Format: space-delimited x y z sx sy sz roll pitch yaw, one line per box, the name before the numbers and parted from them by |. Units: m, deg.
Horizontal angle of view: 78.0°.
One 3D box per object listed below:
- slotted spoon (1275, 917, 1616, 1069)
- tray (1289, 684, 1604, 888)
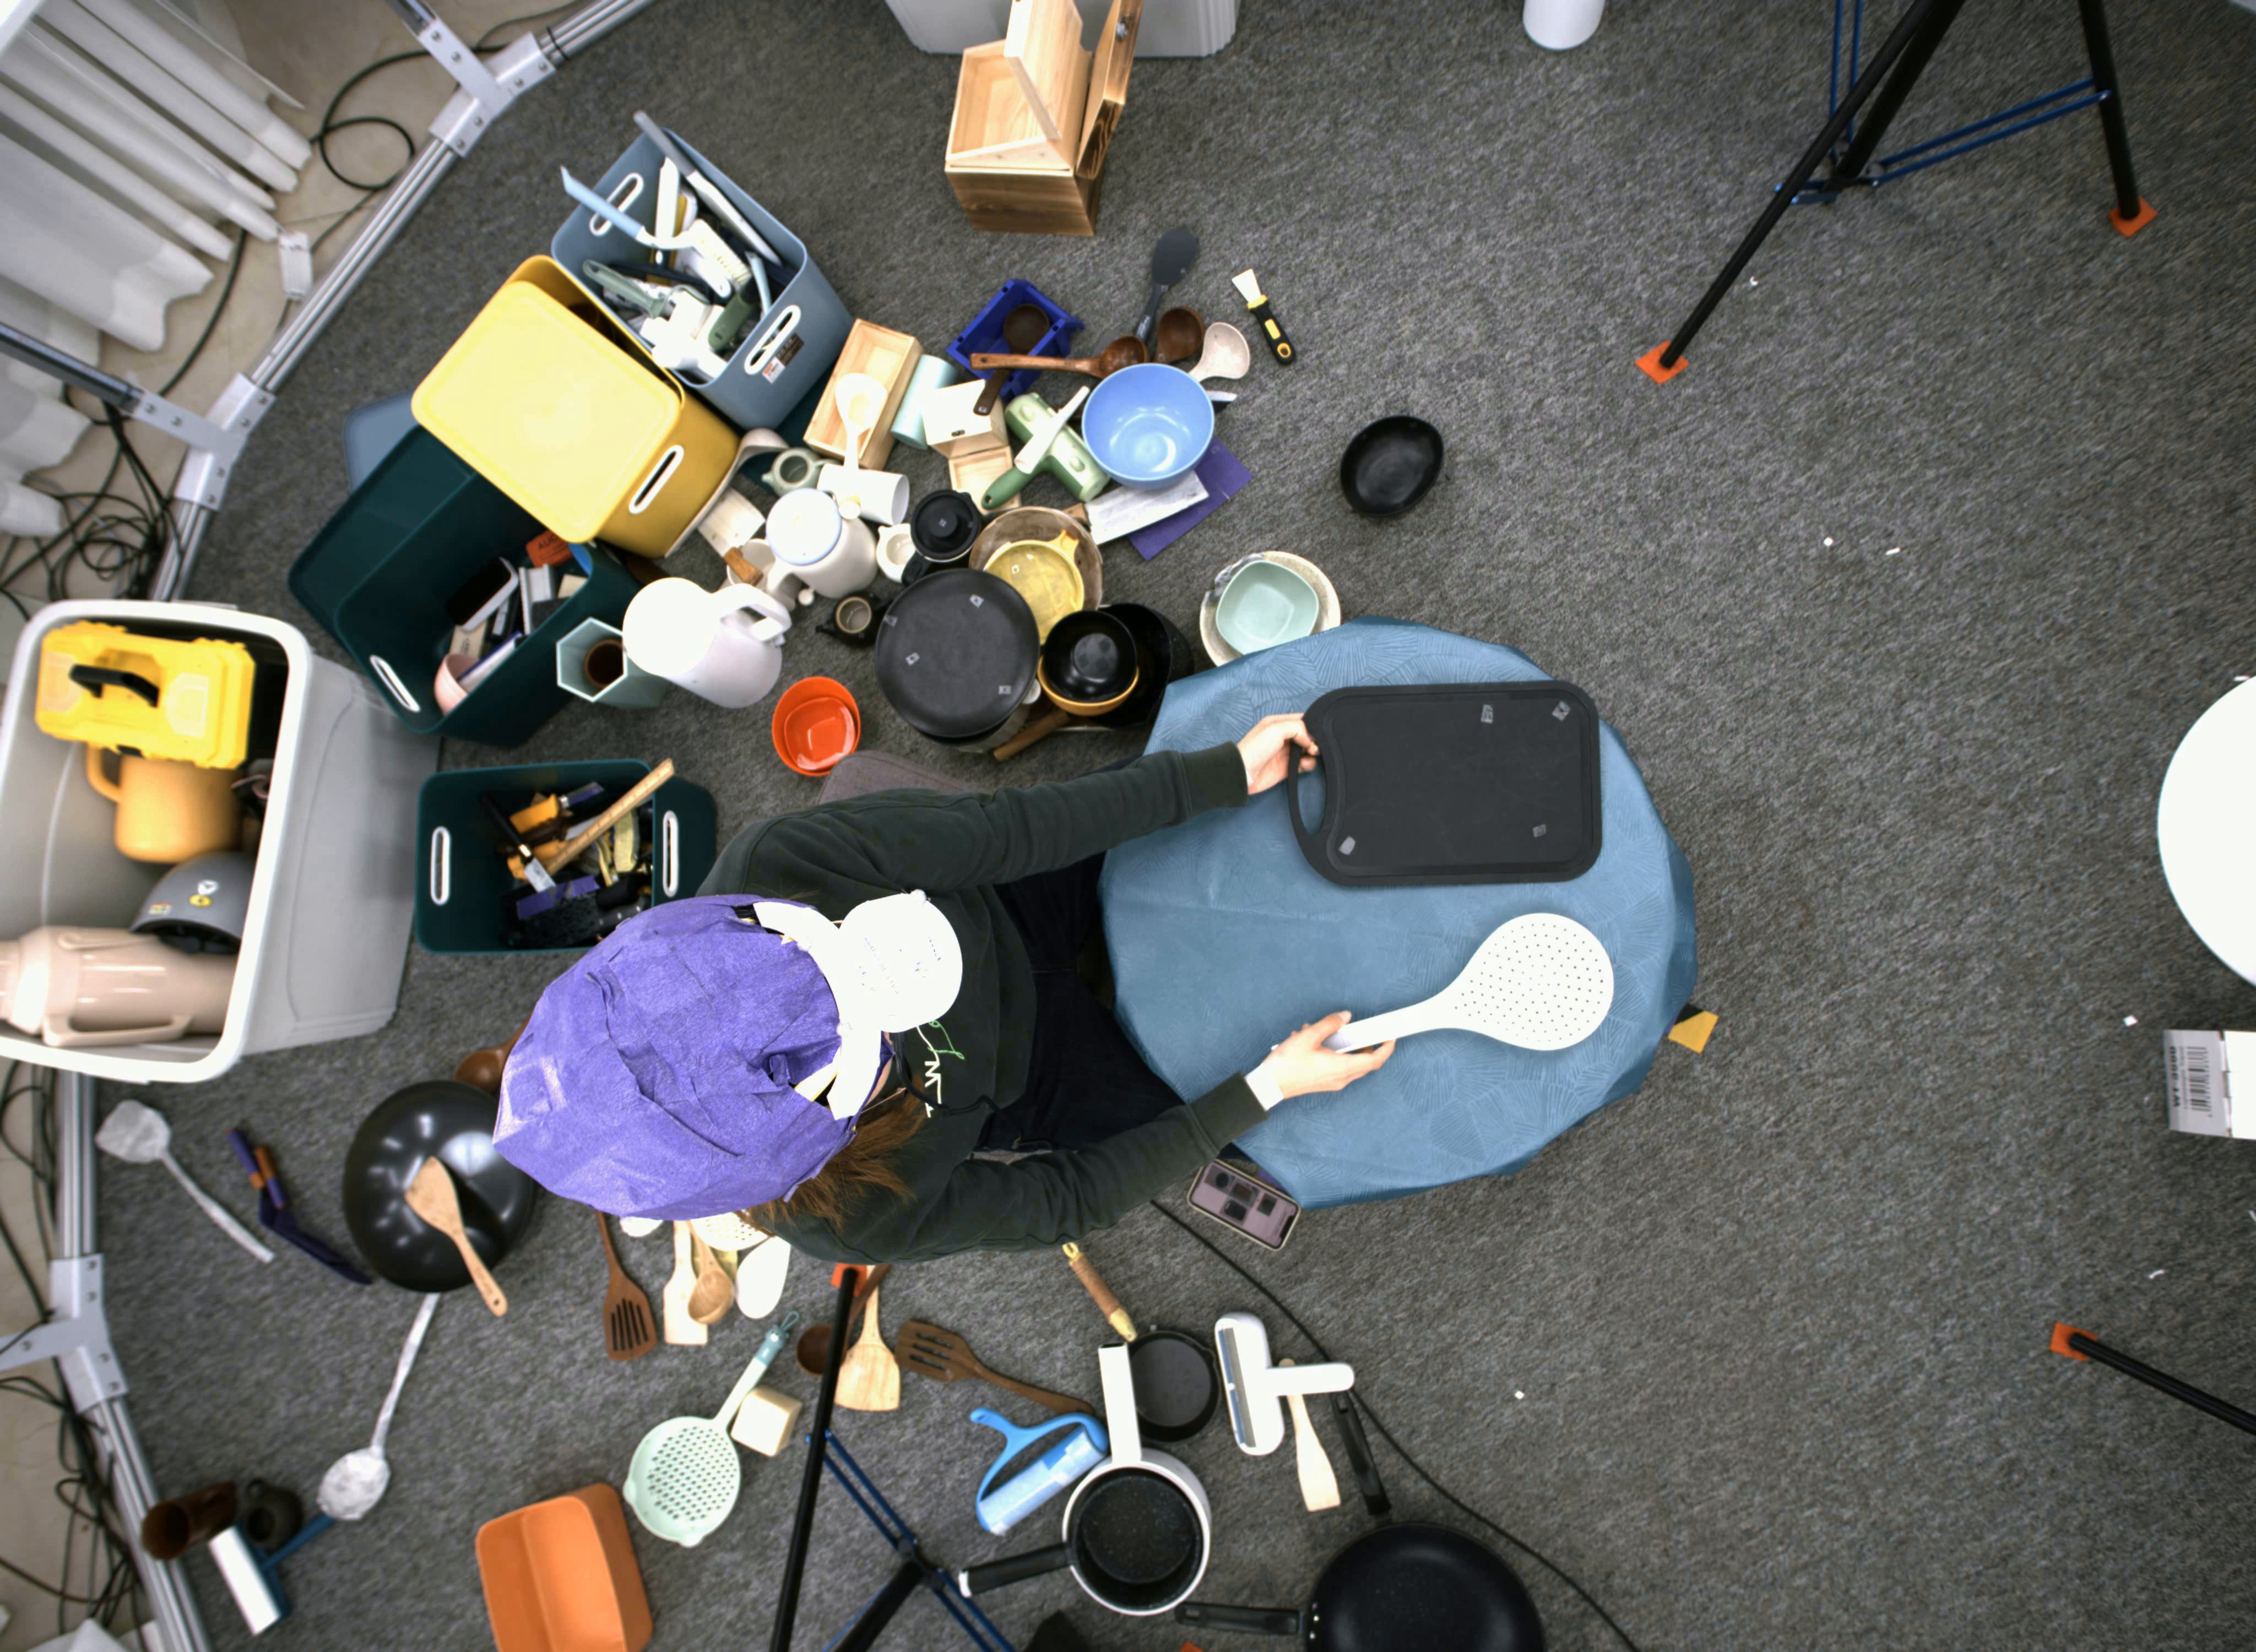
slotted spoon | 0.321 0.190 1.412 0.351 0.046 0.134 -16 76 3
tray | 0.332 -0.043 1.437 0.326 0.010 0.211 -1 91 5
